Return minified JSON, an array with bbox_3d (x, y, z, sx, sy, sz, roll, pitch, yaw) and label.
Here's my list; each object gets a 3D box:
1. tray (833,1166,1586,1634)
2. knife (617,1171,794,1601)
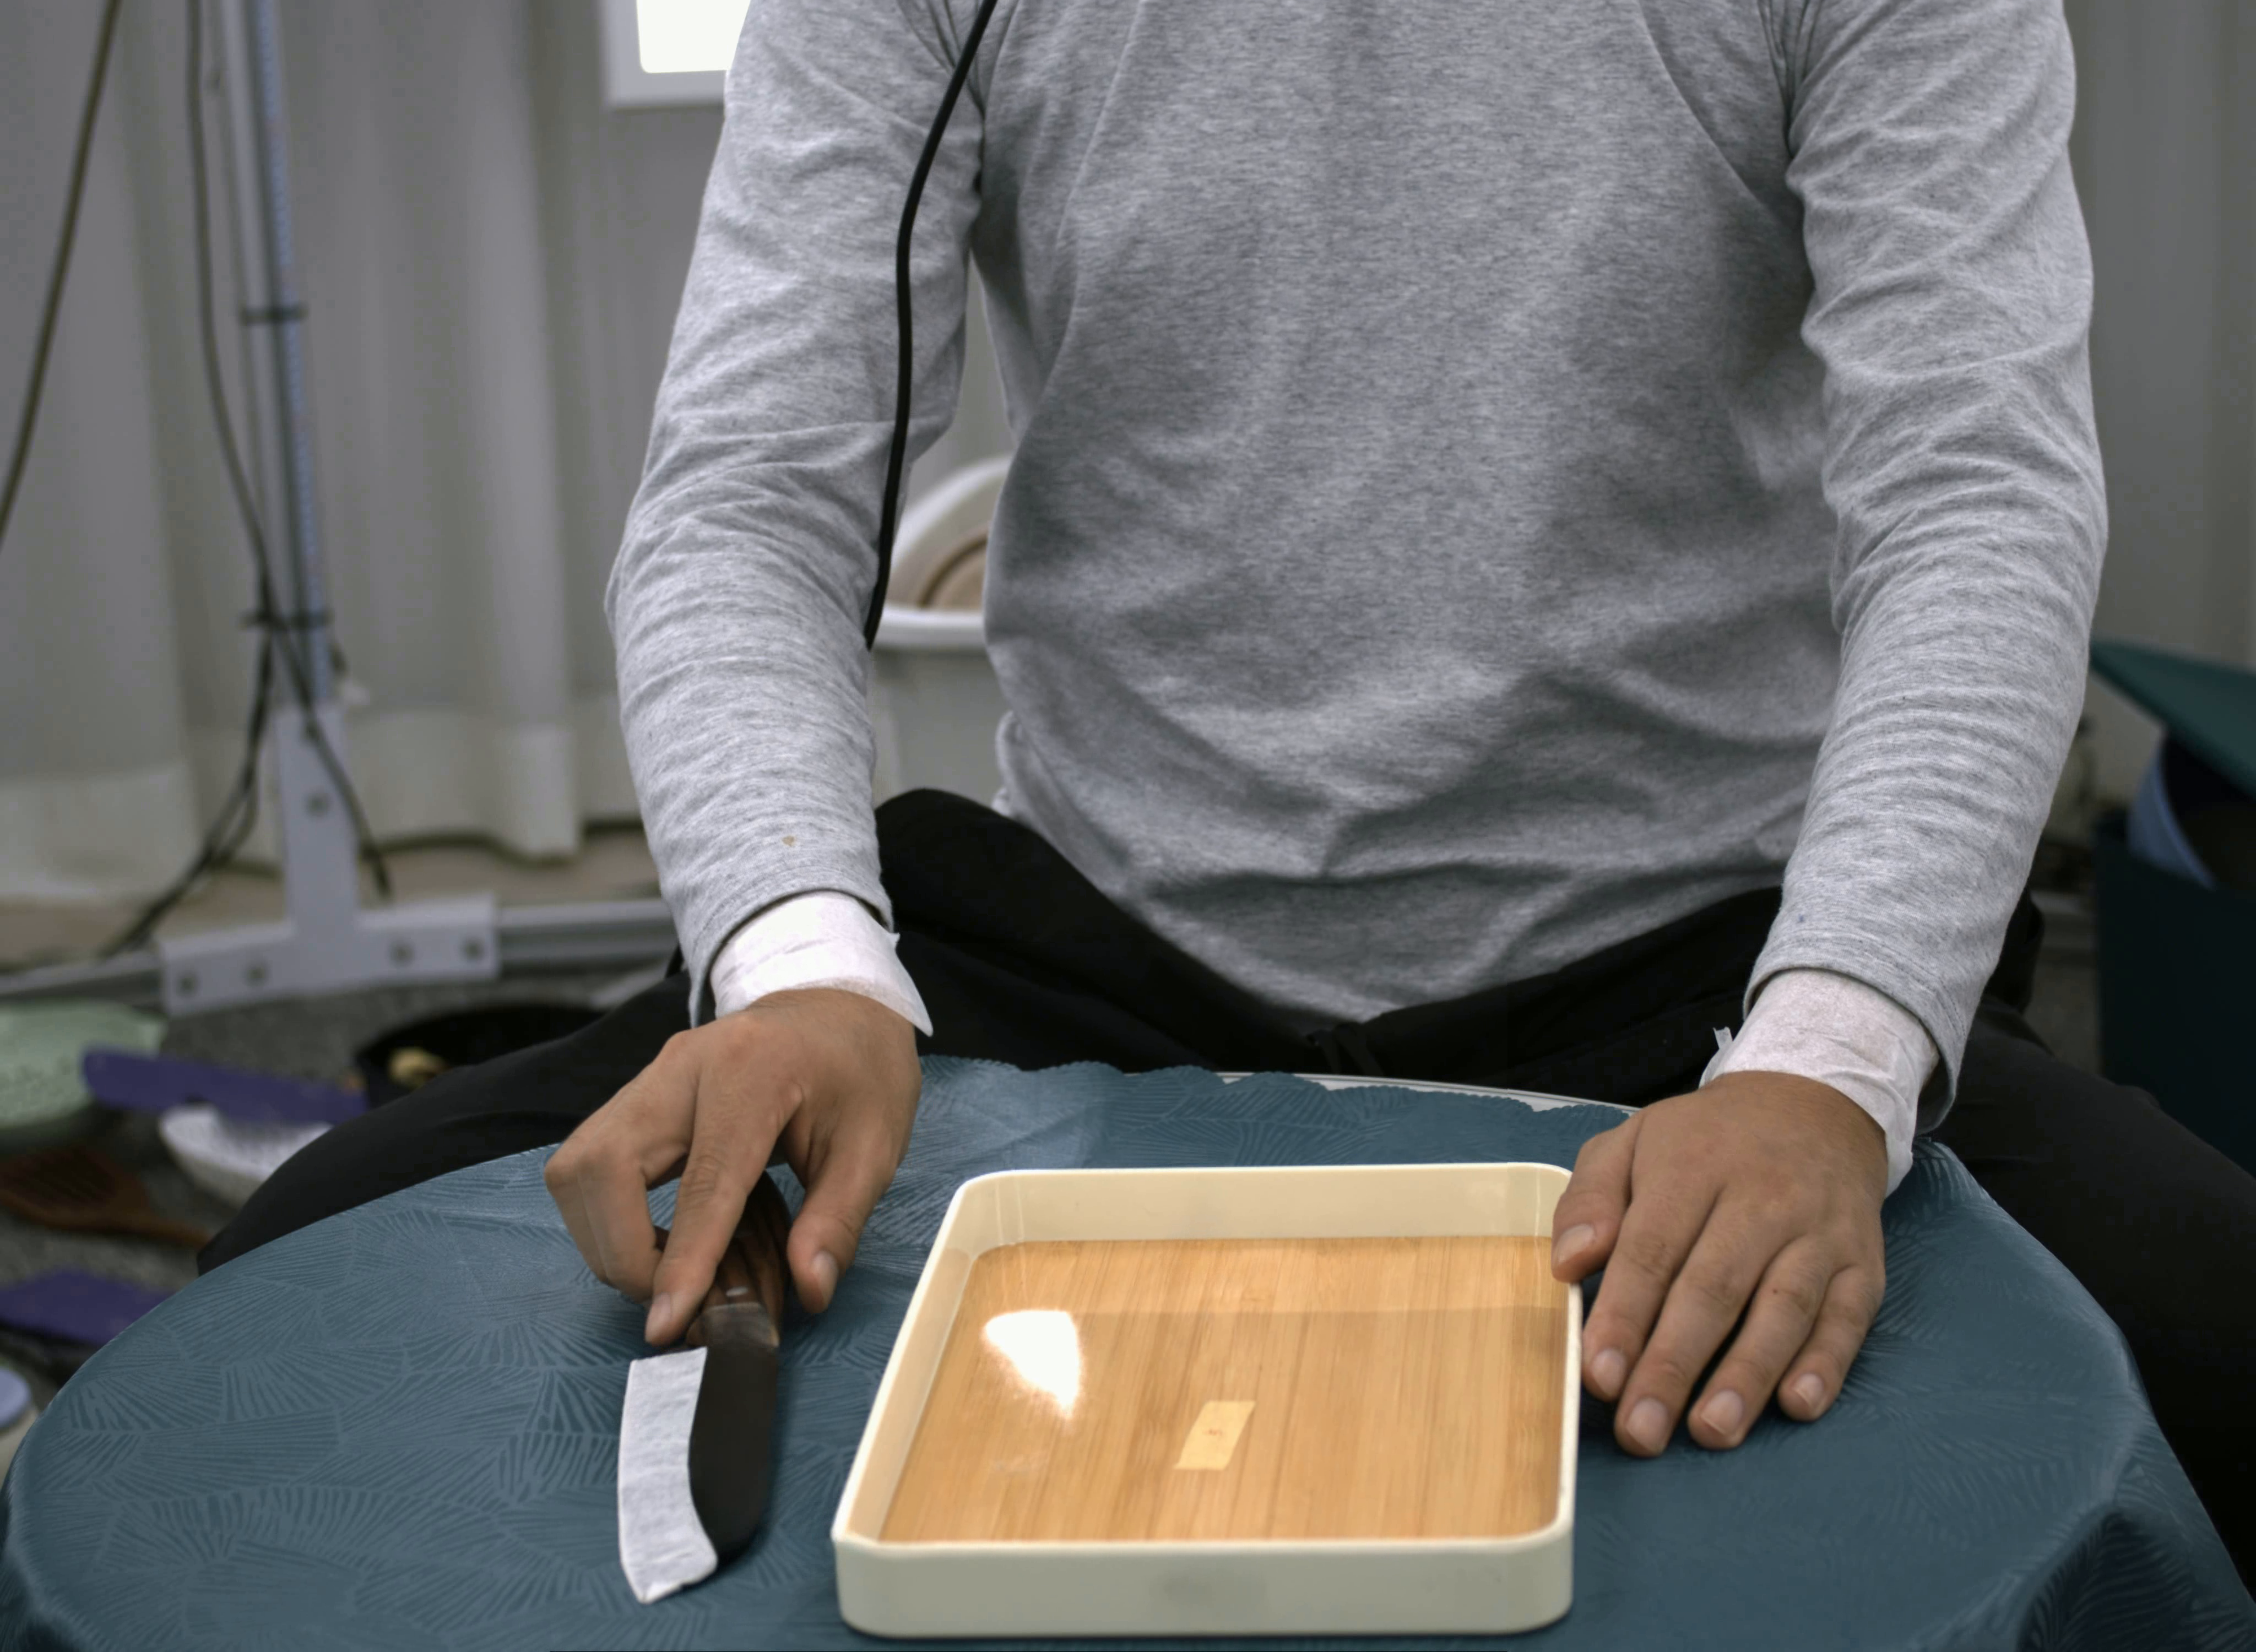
[{"bbox_3d":[0.031,0.154,1.511,0.191,0.027,0.302,-1,15,6],"label":"tray"},{"bbox_3d":[-0.118,0.157,1.550,0.050,0.020,0.291,-10,17,3],"label":"knife"}]
